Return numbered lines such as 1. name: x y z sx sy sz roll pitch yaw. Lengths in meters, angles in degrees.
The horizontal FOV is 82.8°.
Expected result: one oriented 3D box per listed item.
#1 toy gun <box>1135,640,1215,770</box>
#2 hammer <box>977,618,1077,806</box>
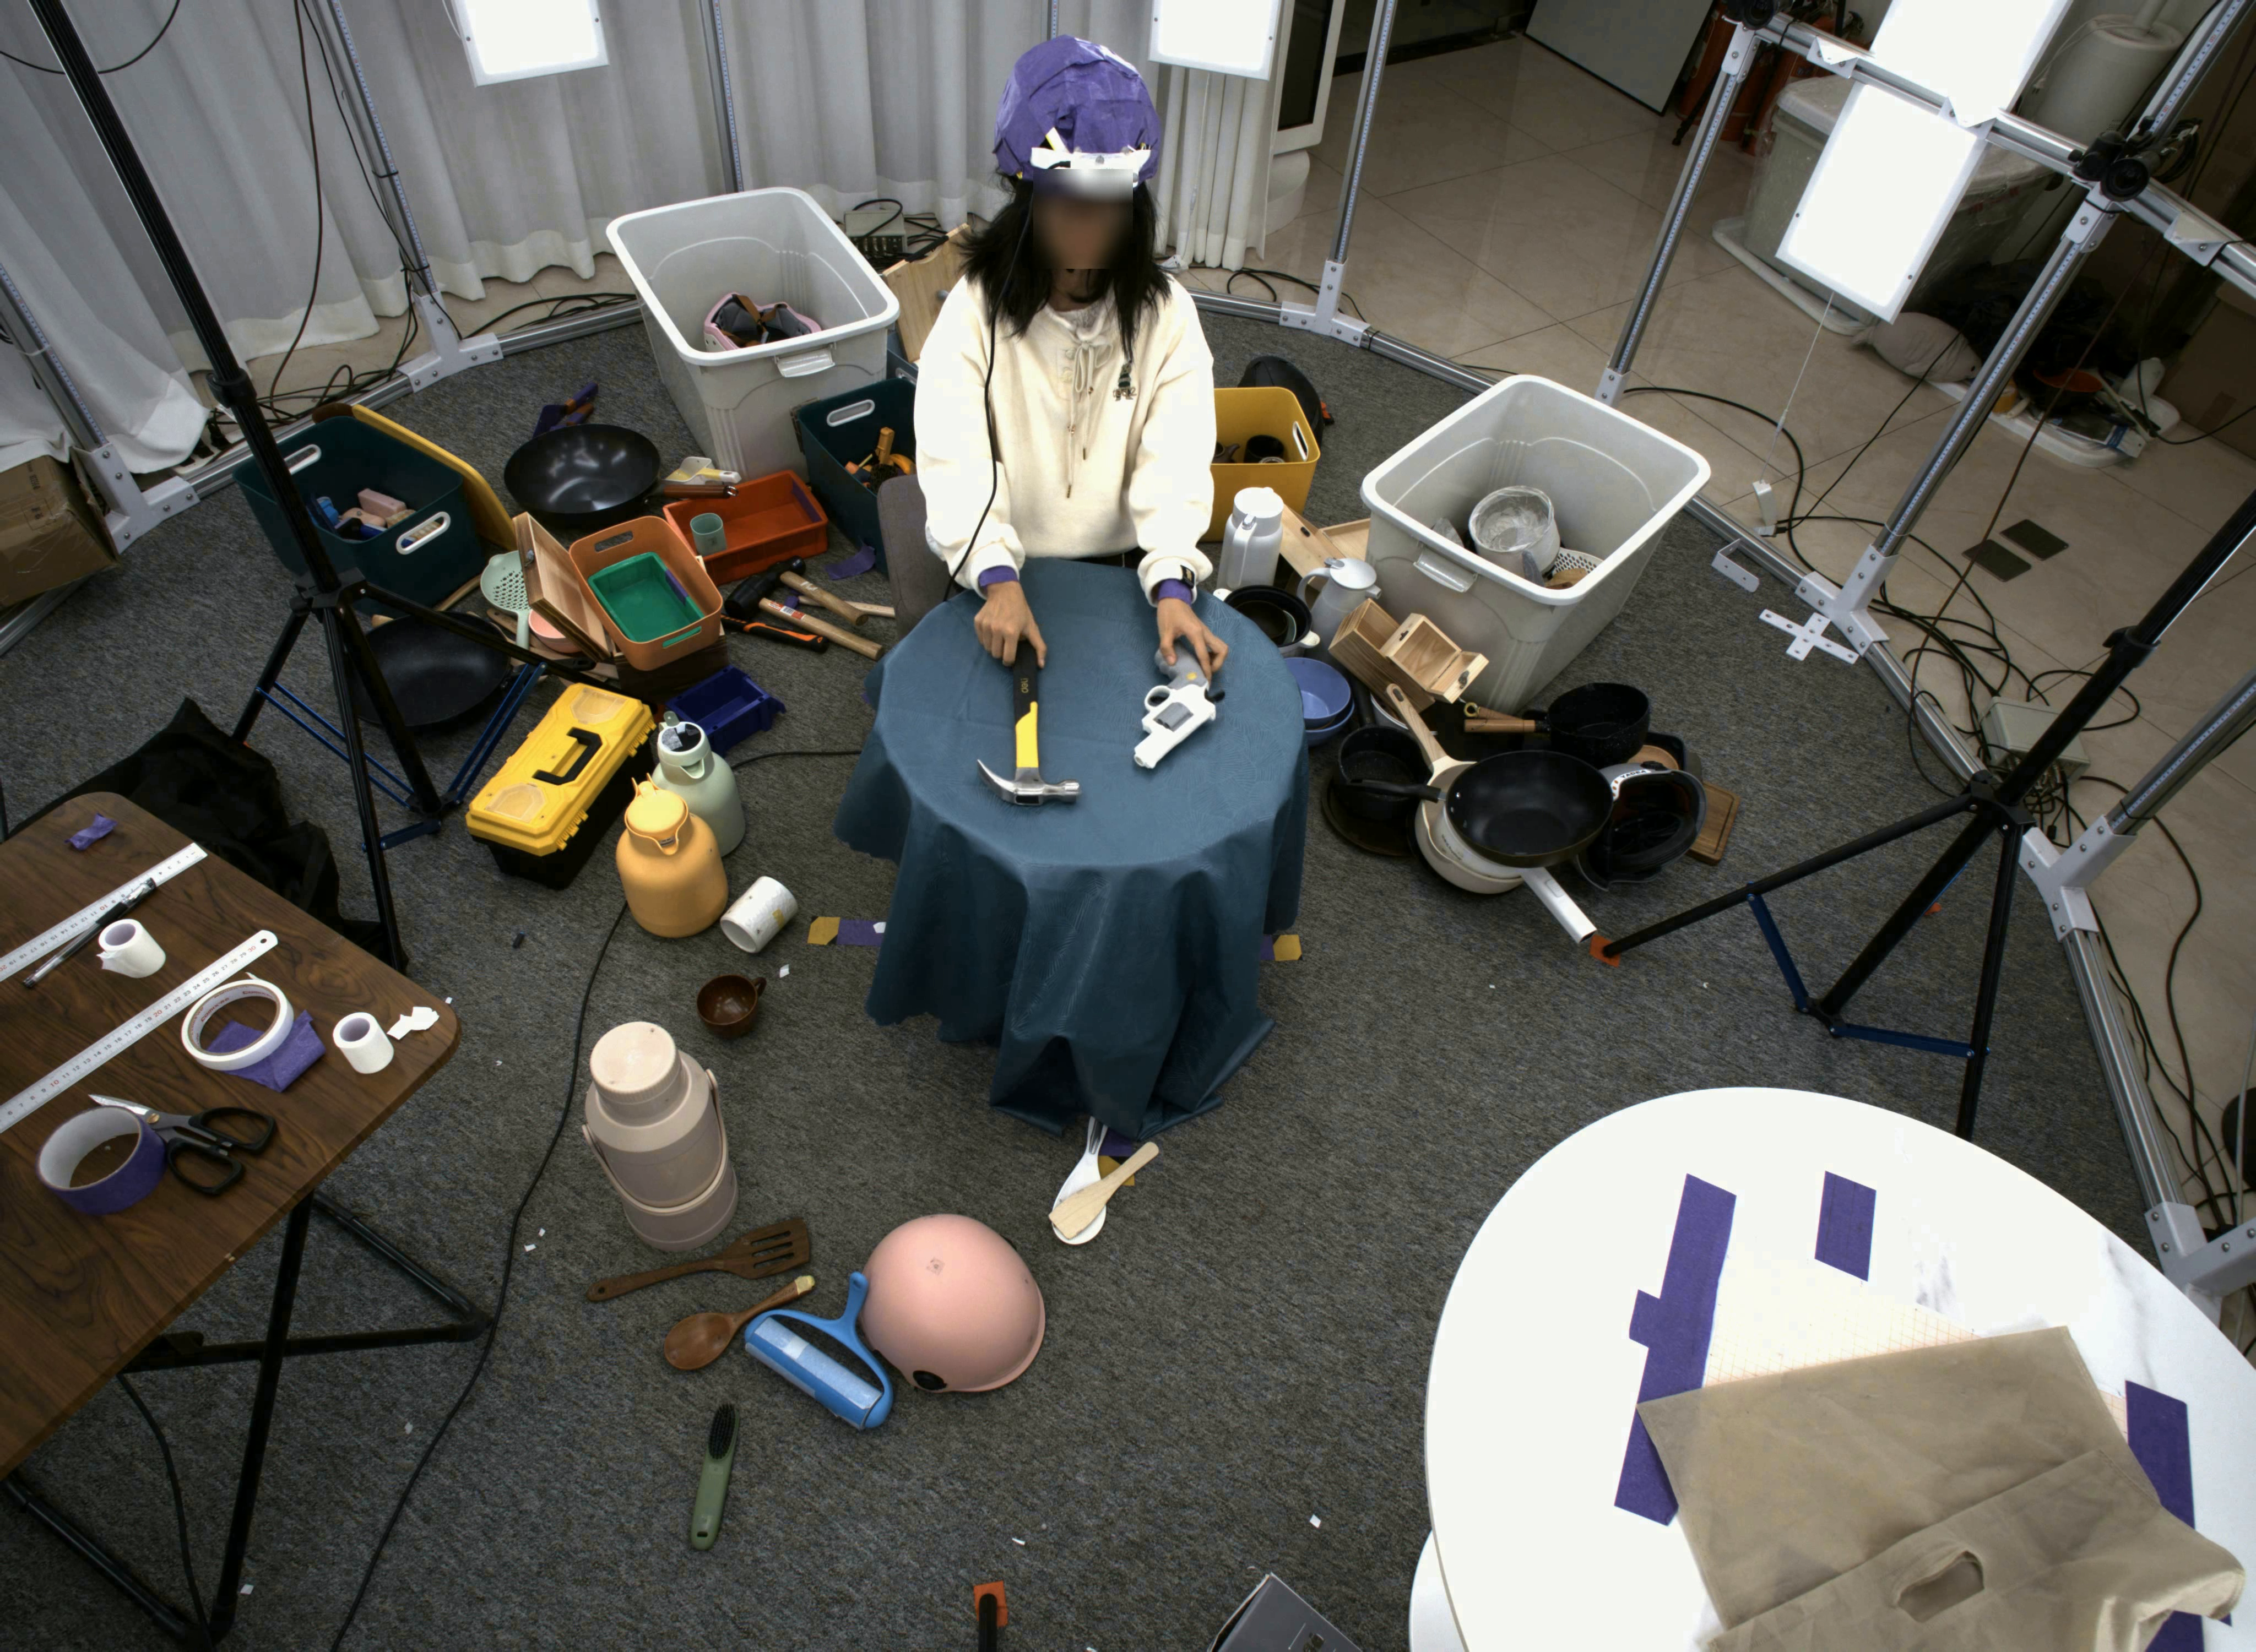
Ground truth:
1. toy gun: 0.049 -0.173 1.798 0.143 0.038 0.211 30 61 31
2. hammer: -0.141 -0.166 1.781 0.131 0.031 0.347 -2 50 -3
